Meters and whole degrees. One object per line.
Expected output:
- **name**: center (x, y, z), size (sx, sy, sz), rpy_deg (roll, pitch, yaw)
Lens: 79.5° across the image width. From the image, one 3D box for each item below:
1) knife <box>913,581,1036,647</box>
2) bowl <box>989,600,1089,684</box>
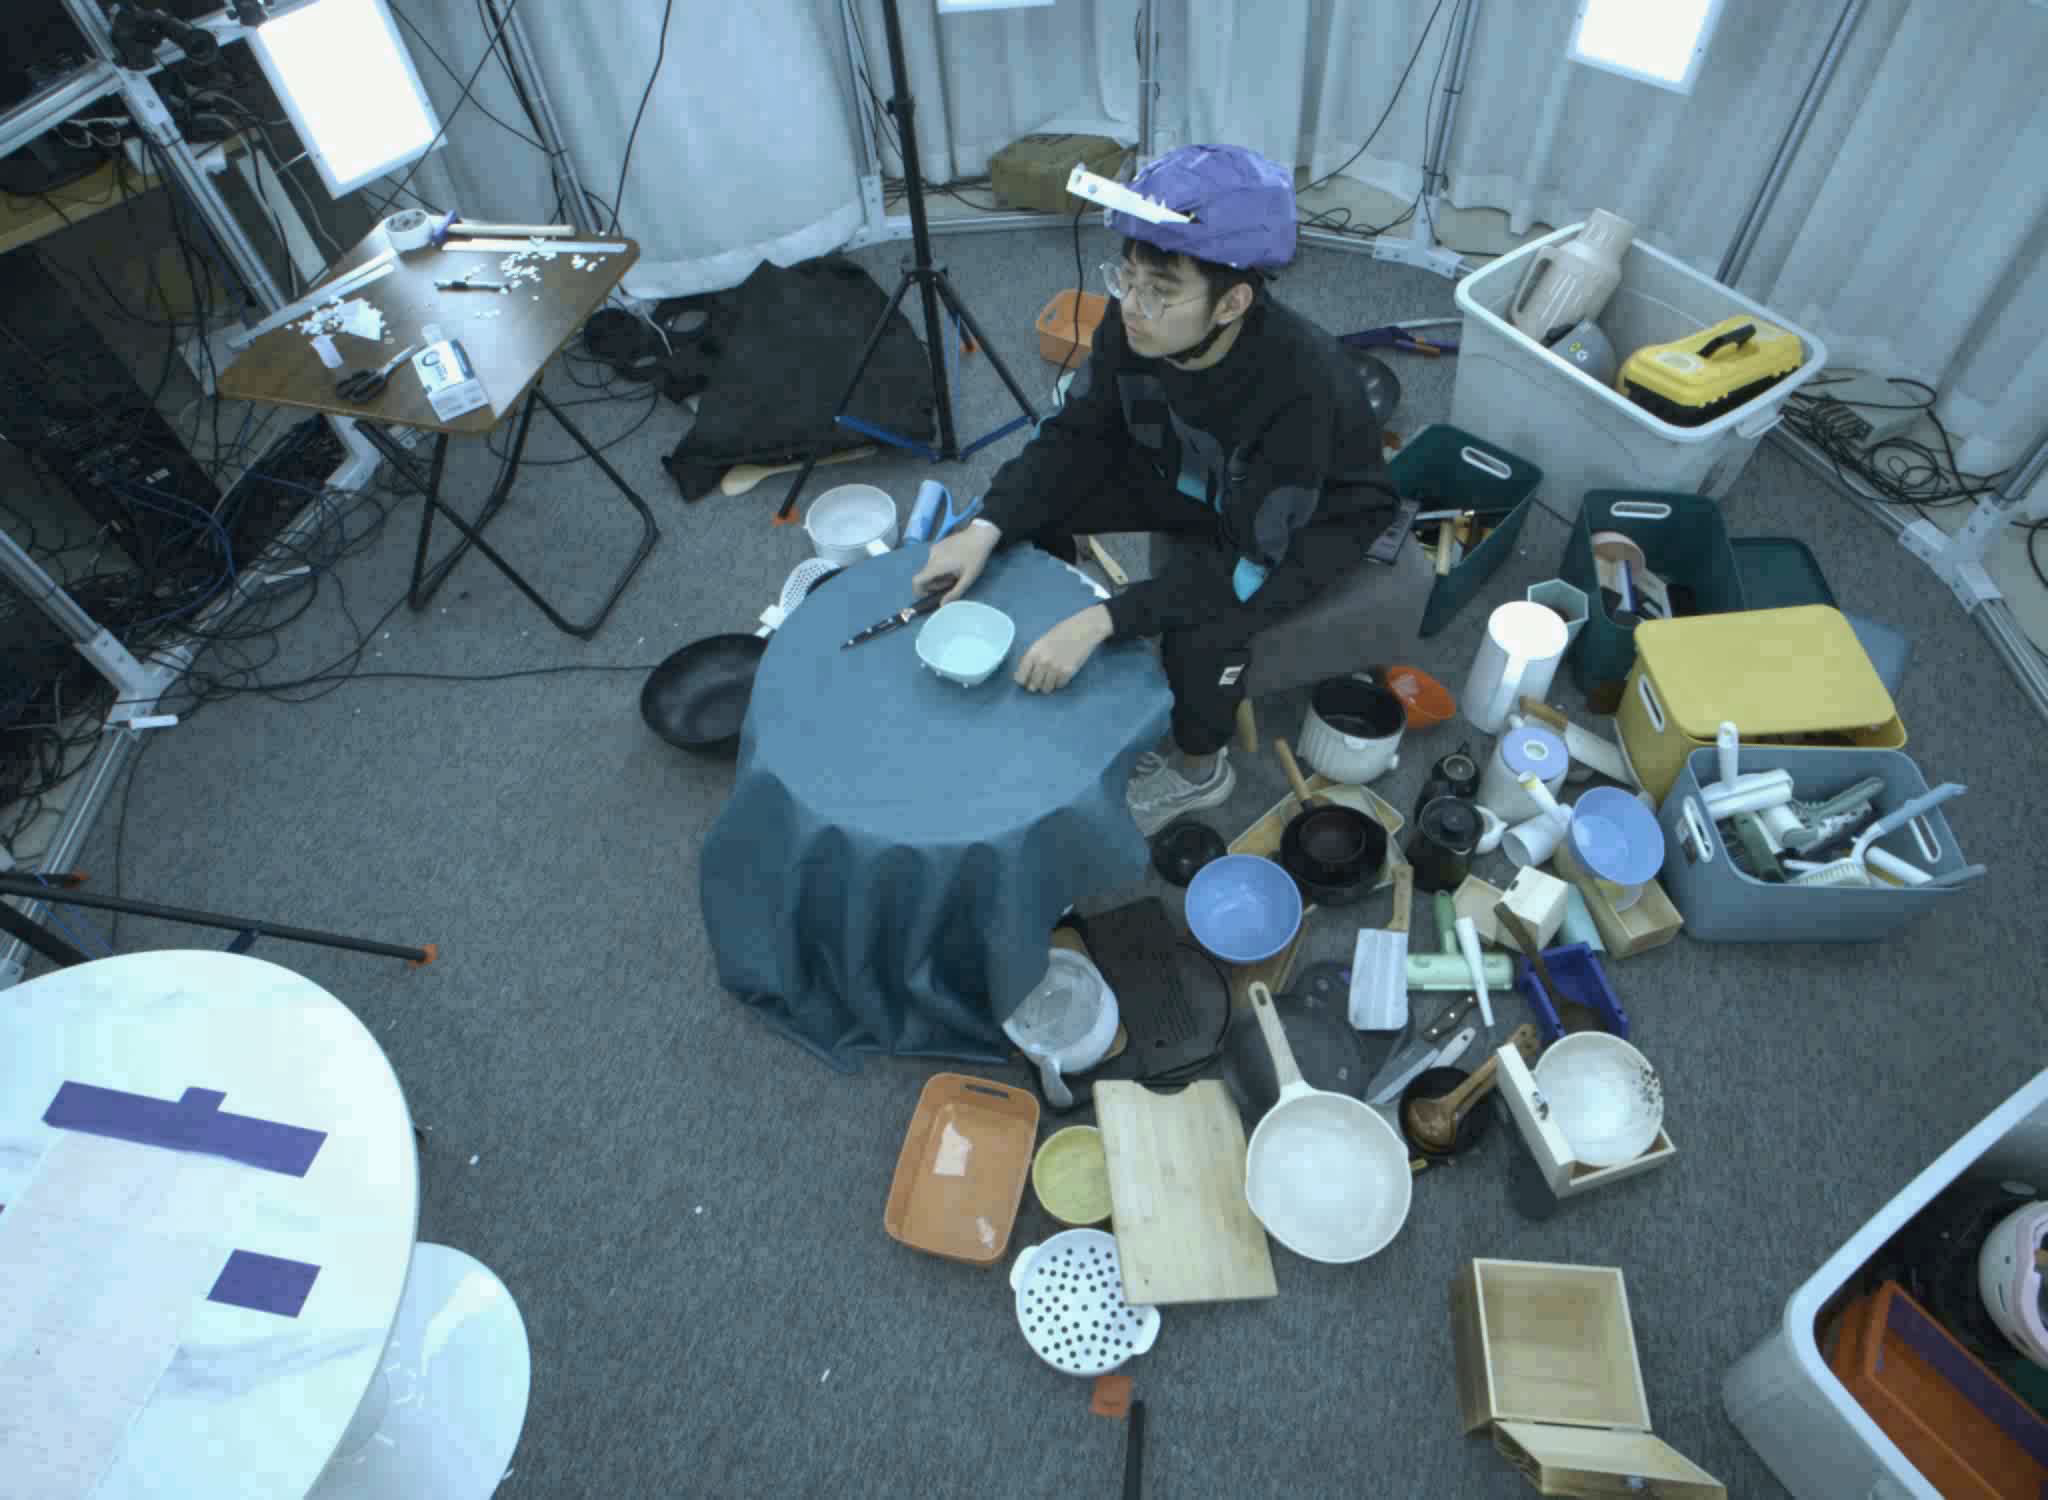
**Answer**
- **knife**: center (-0.078, -0.216, 1.936), size (0.227, 0.017, 0.026), rpy_deg (-27, 67, -14)
- **bowl**: center (0.024, -0.154, 1.861), size (0.151, 0.059, 0.150), rpy_deg (-1, 54, 3)
